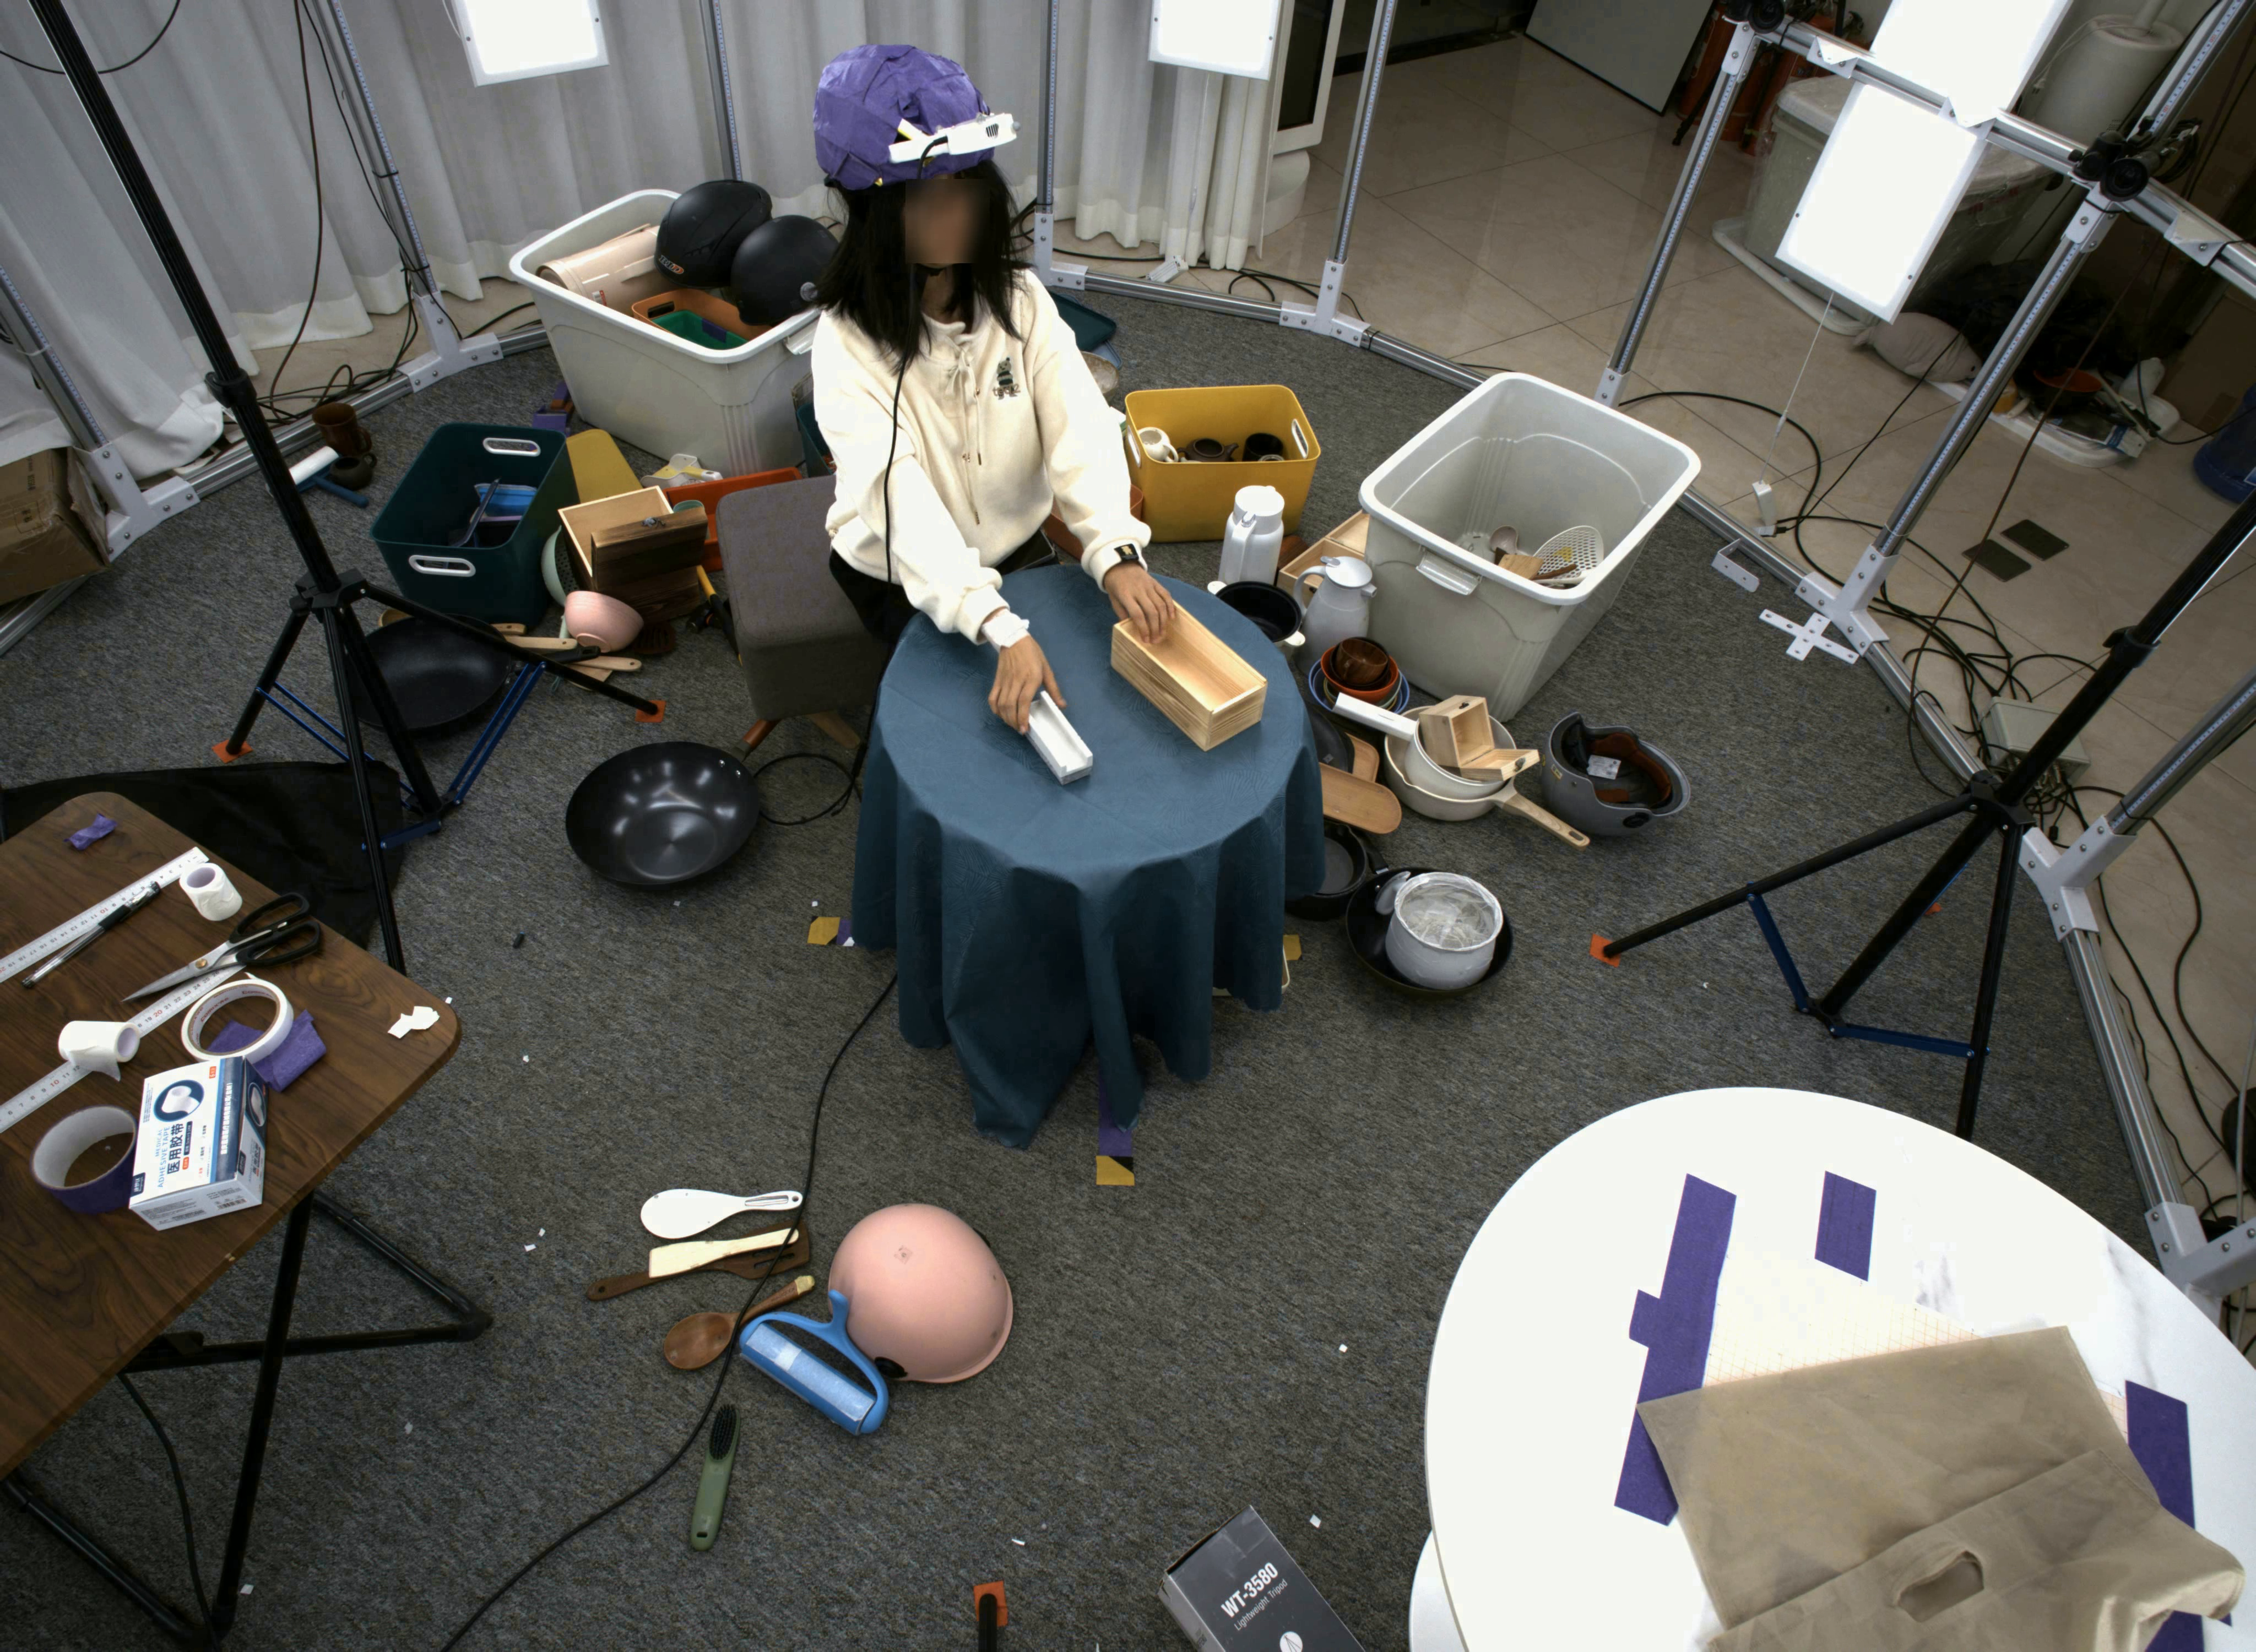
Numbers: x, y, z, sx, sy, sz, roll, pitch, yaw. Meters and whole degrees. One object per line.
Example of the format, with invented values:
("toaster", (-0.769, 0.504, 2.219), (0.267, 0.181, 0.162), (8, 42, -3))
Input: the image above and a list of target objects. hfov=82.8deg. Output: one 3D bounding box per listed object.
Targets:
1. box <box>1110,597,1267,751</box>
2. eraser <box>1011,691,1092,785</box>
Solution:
("box", (0.082, -0.218, 1.813), (0.108, 0.078, 0.215), (-29, 58, -27))
("eraser", (-0.104, -0.120, 1.736), (0.050, 0.045, 0.137), (-25, 57, -21))
